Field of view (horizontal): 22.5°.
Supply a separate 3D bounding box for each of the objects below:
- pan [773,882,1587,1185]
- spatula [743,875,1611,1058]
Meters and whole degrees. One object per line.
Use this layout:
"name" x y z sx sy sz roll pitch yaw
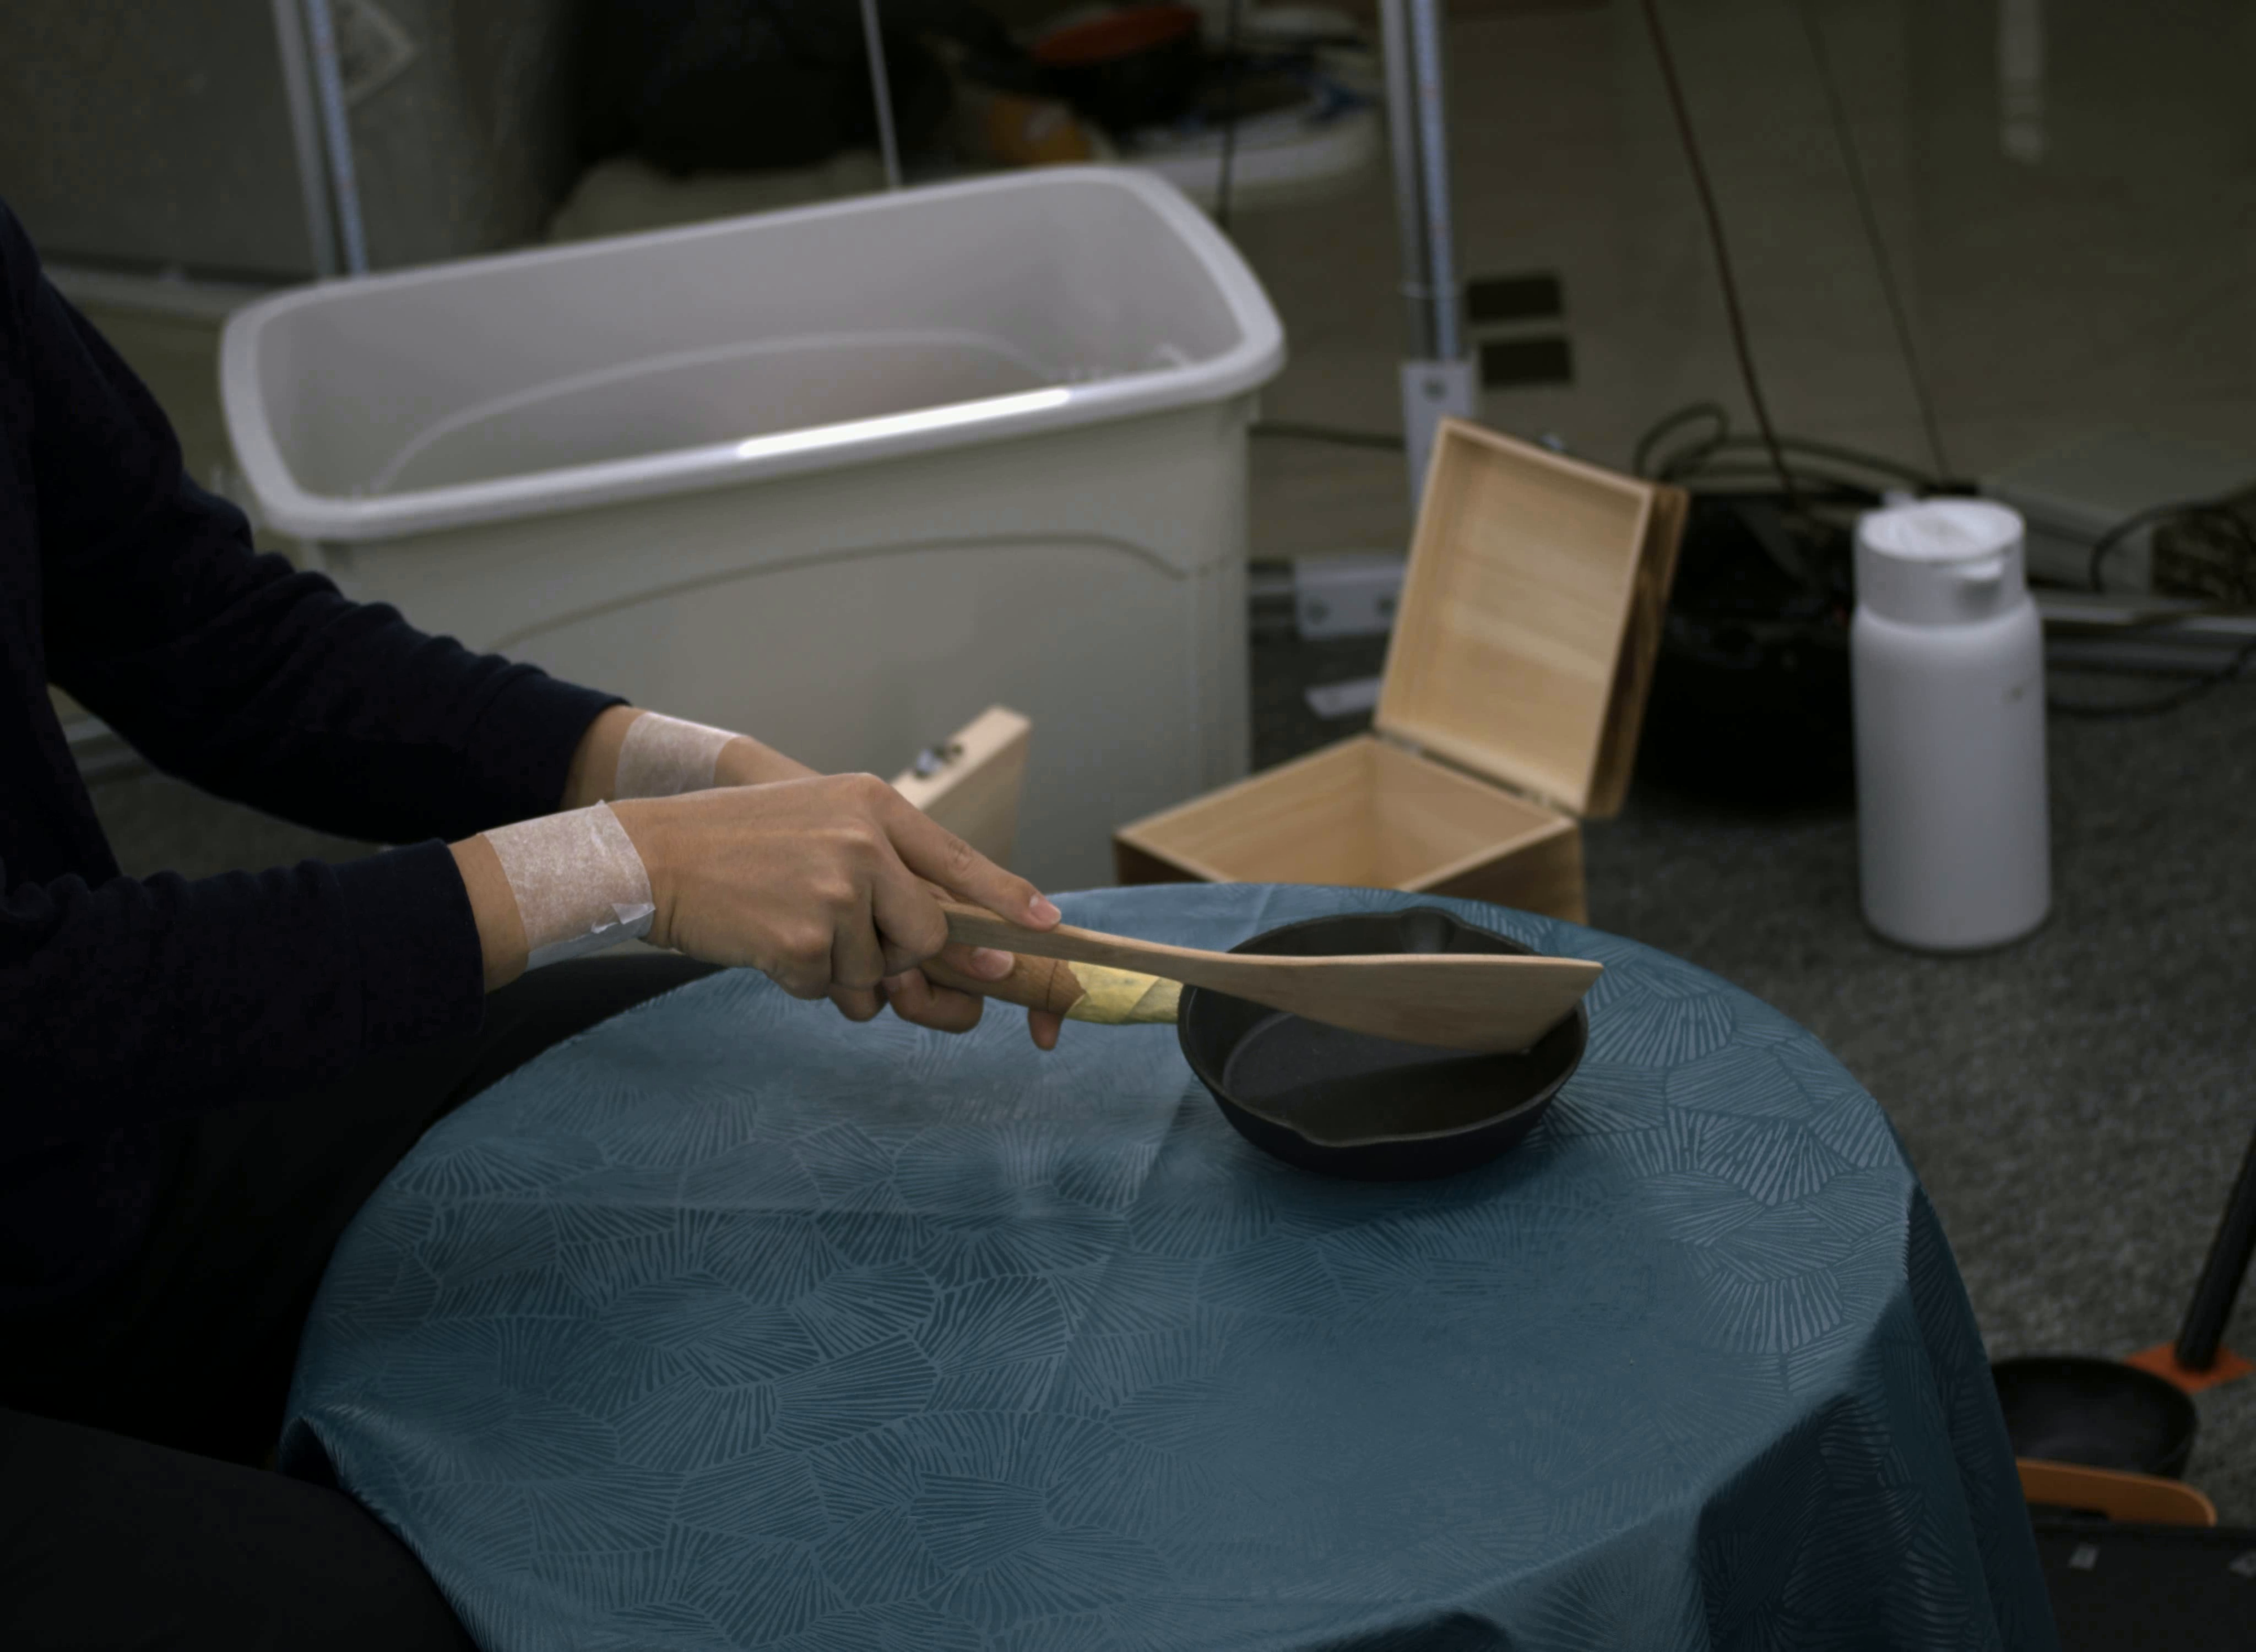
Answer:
"pan" 0.017 0.070 2.190 0.323 0.050 0.166 10 34 15
"spatula" 0.016 0.049 2.149 0.327 0.081 0.016 10 59 -5
